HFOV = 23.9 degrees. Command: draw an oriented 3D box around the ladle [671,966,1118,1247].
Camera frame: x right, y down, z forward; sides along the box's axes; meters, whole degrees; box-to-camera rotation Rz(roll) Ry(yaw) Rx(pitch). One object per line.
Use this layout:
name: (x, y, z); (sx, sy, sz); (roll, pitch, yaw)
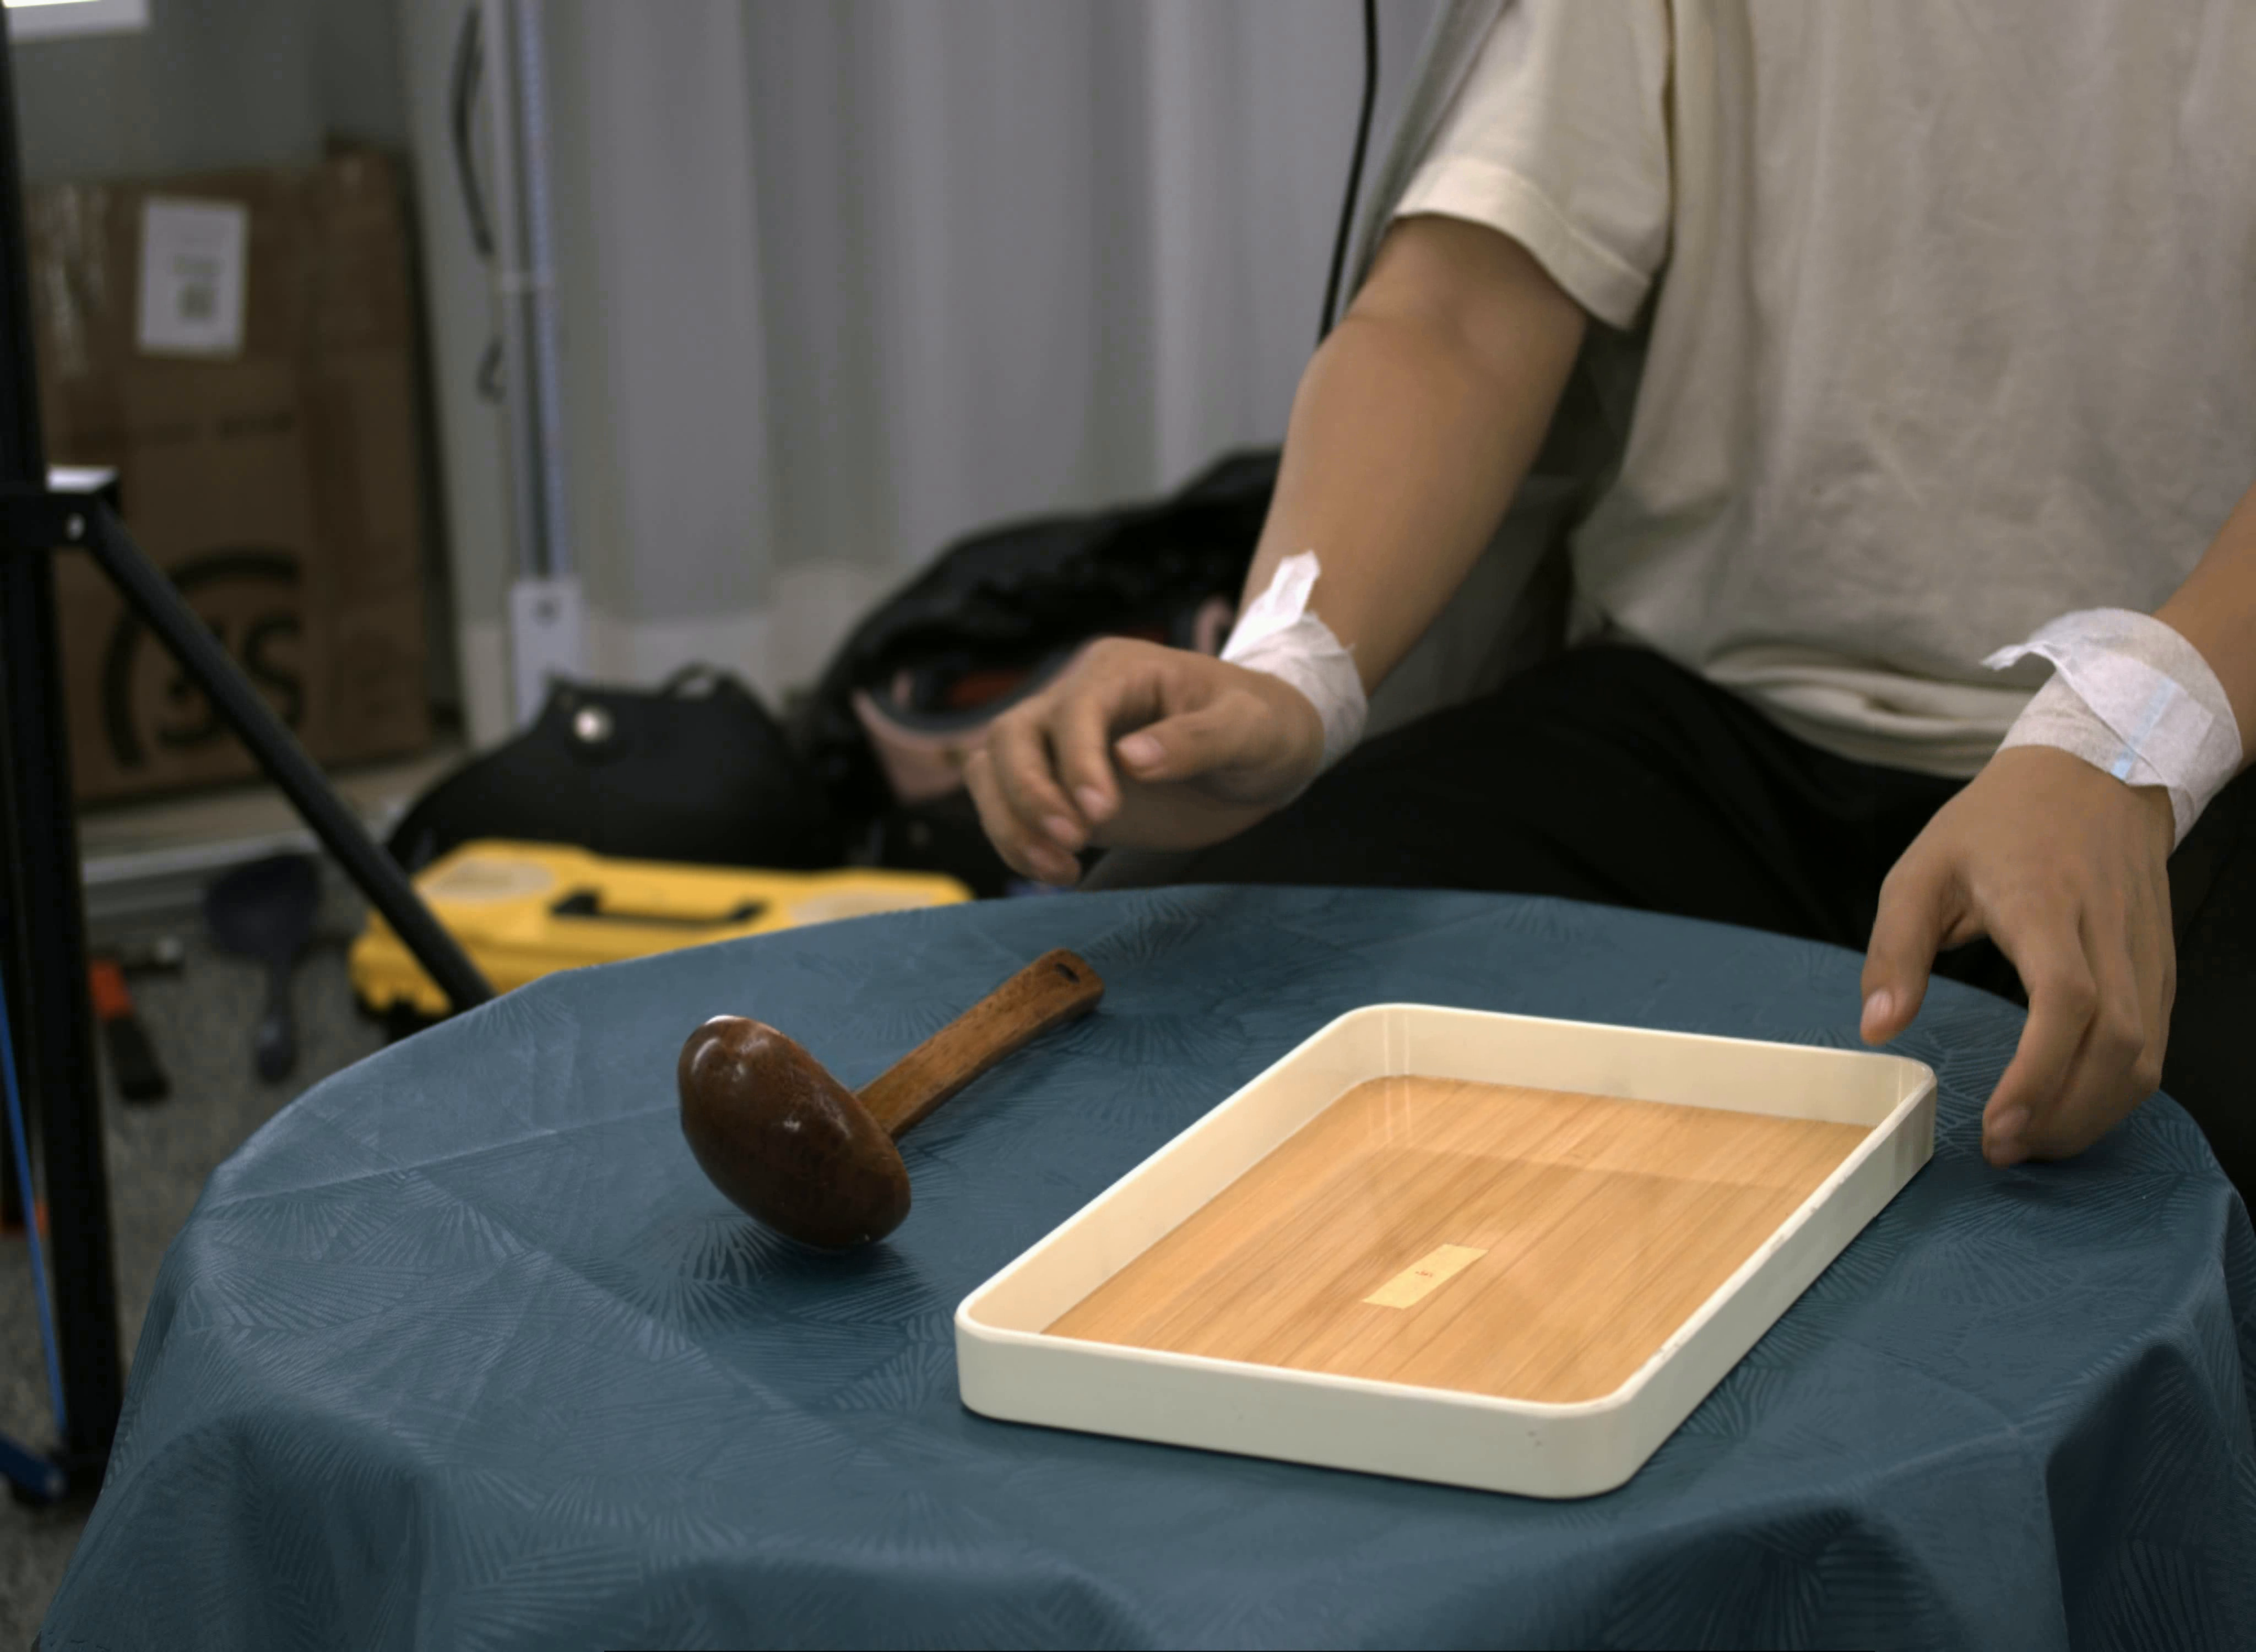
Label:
ladle: (-0.054, 0.062, 1.600); (0.082, 0.077, 0.270); (42, 28, 10)

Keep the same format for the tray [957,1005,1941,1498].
tray: (0.097, 0.112, 1.473); (0.194, 0.027, 0.295); (5, 17, 25)
